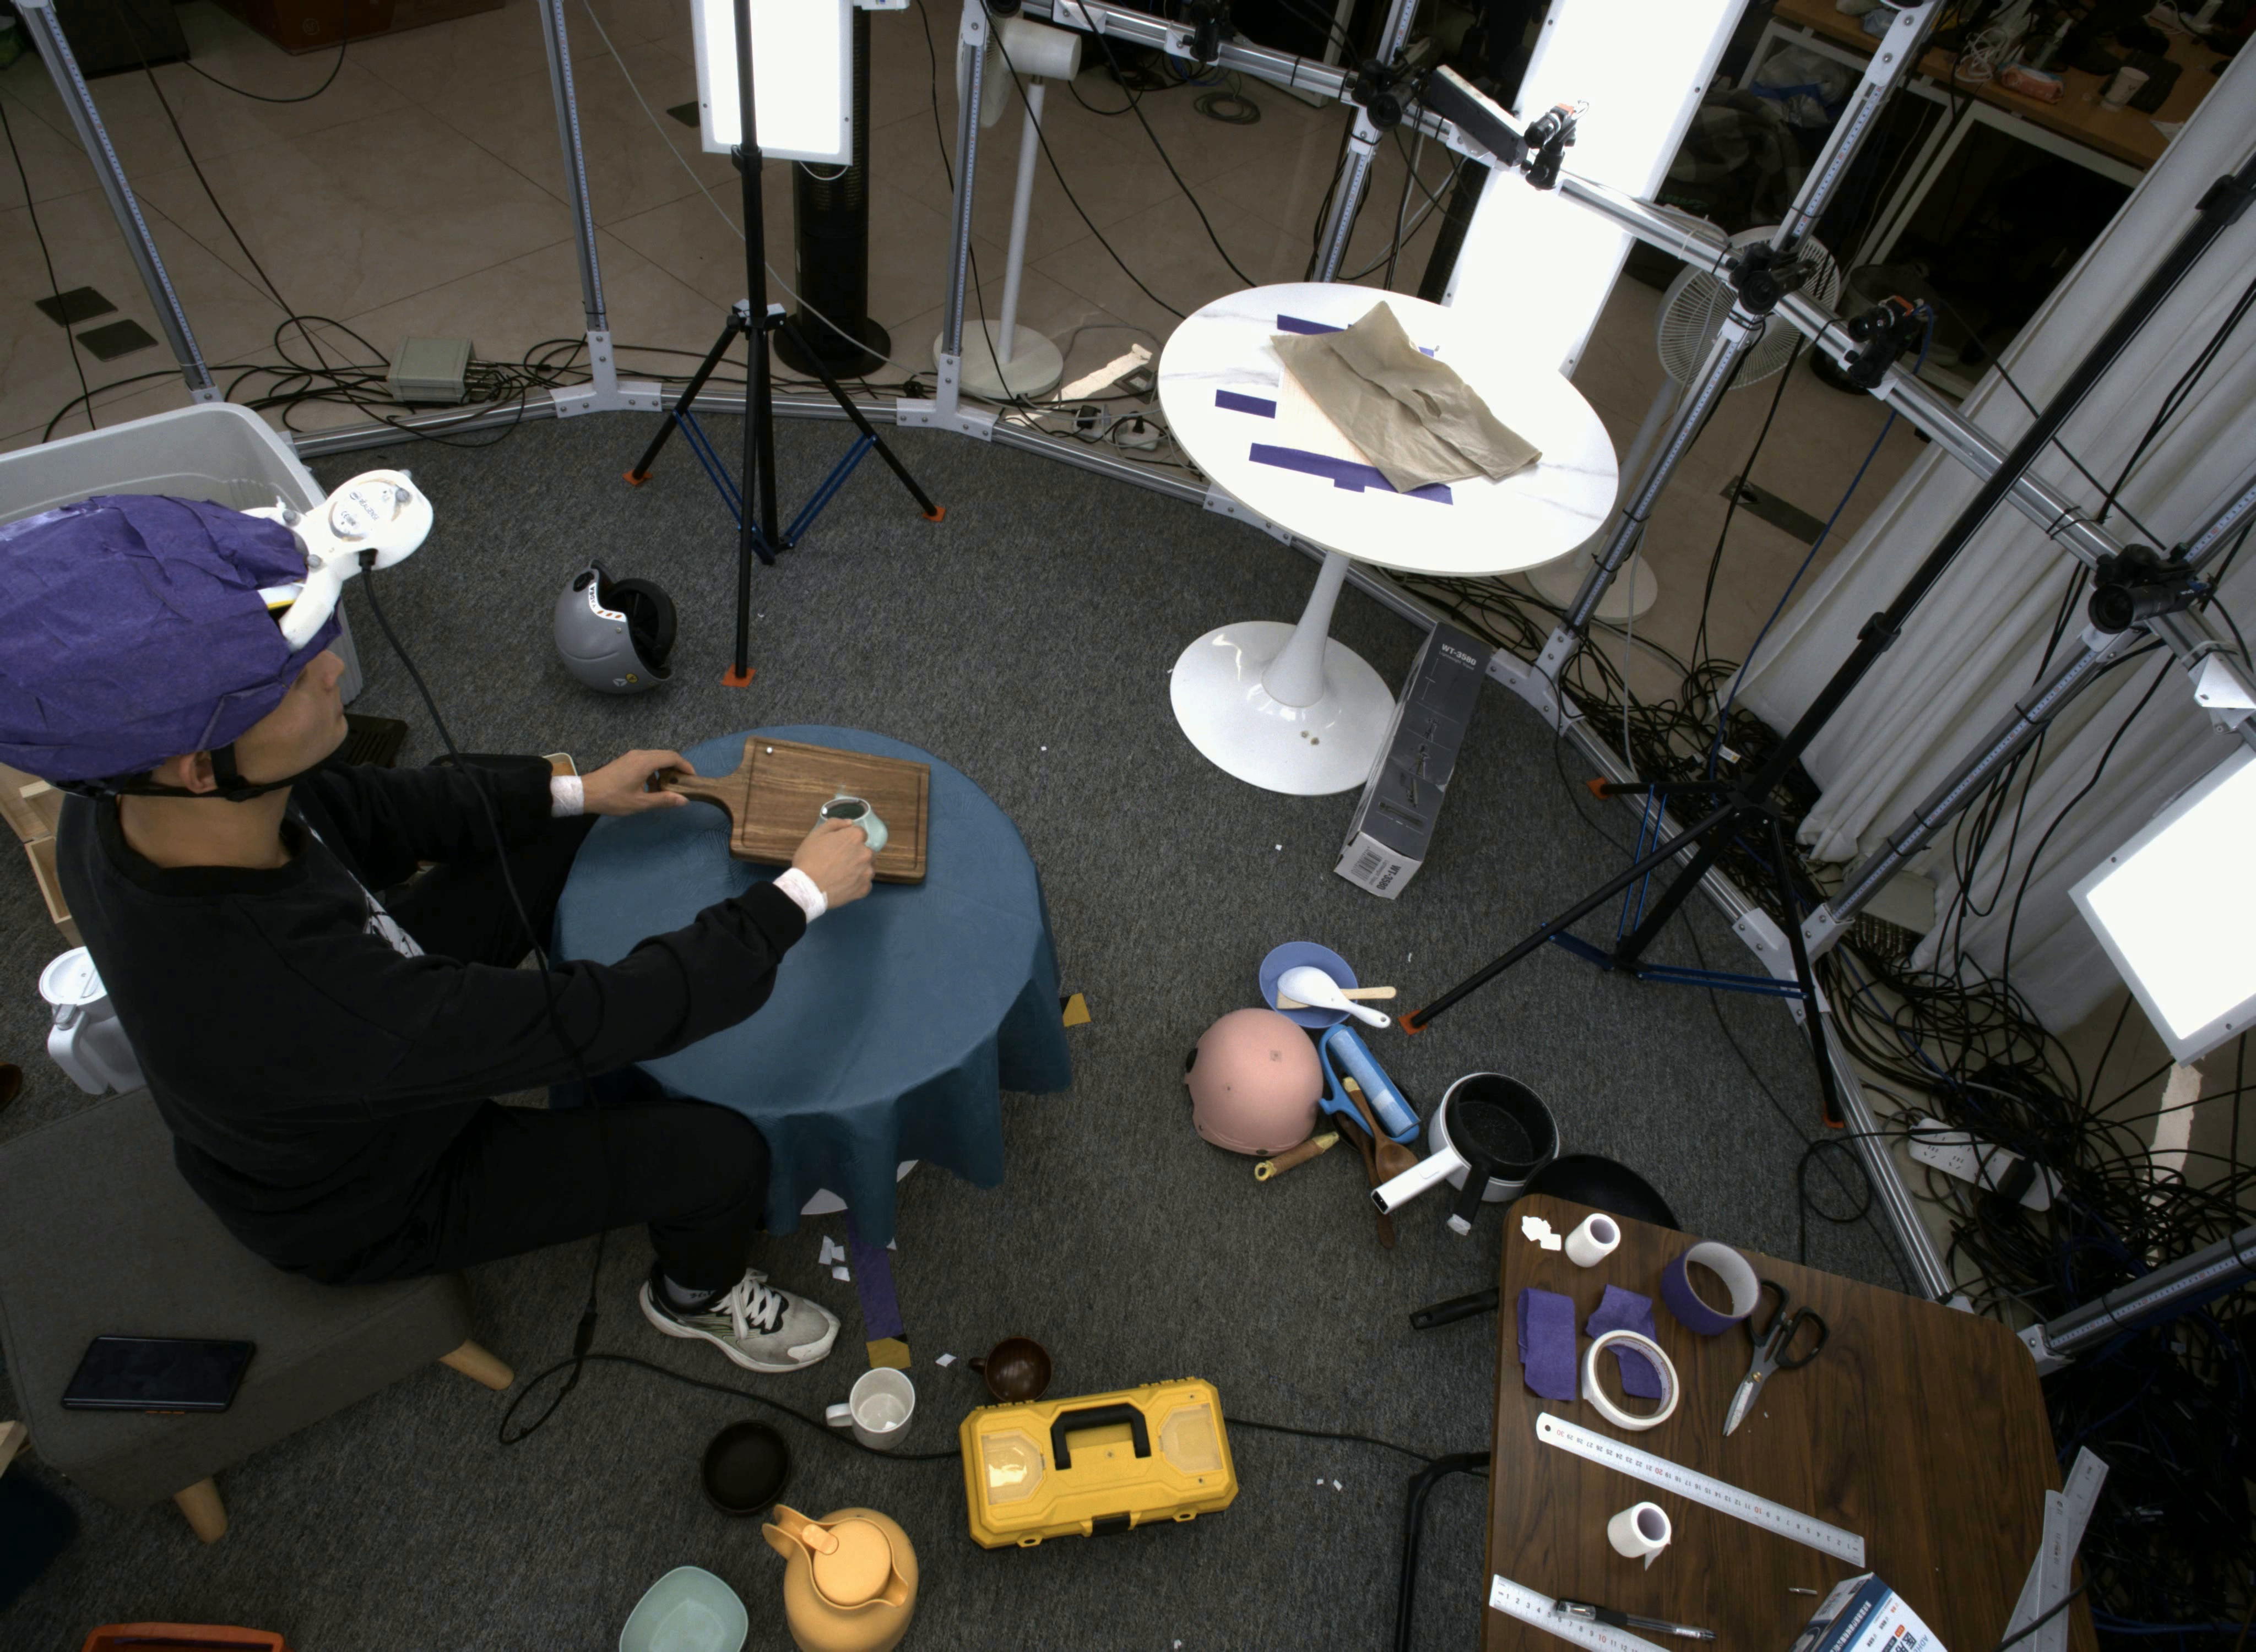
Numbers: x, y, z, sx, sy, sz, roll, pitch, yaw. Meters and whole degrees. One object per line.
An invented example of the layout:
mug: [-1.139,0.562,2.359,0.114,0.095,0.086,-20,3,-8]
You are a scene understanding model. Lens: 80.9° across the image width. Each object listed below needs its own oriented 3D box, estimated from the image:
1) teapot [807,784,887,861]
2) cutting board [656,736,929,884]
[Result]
teapot: [-0.342,0.002,1.576,0.096,0.063,0.132,-8,31,-18]
cutting board: [-0.434,-0.030,1.692,0.355,0.023,0.197,8,52,-20]
